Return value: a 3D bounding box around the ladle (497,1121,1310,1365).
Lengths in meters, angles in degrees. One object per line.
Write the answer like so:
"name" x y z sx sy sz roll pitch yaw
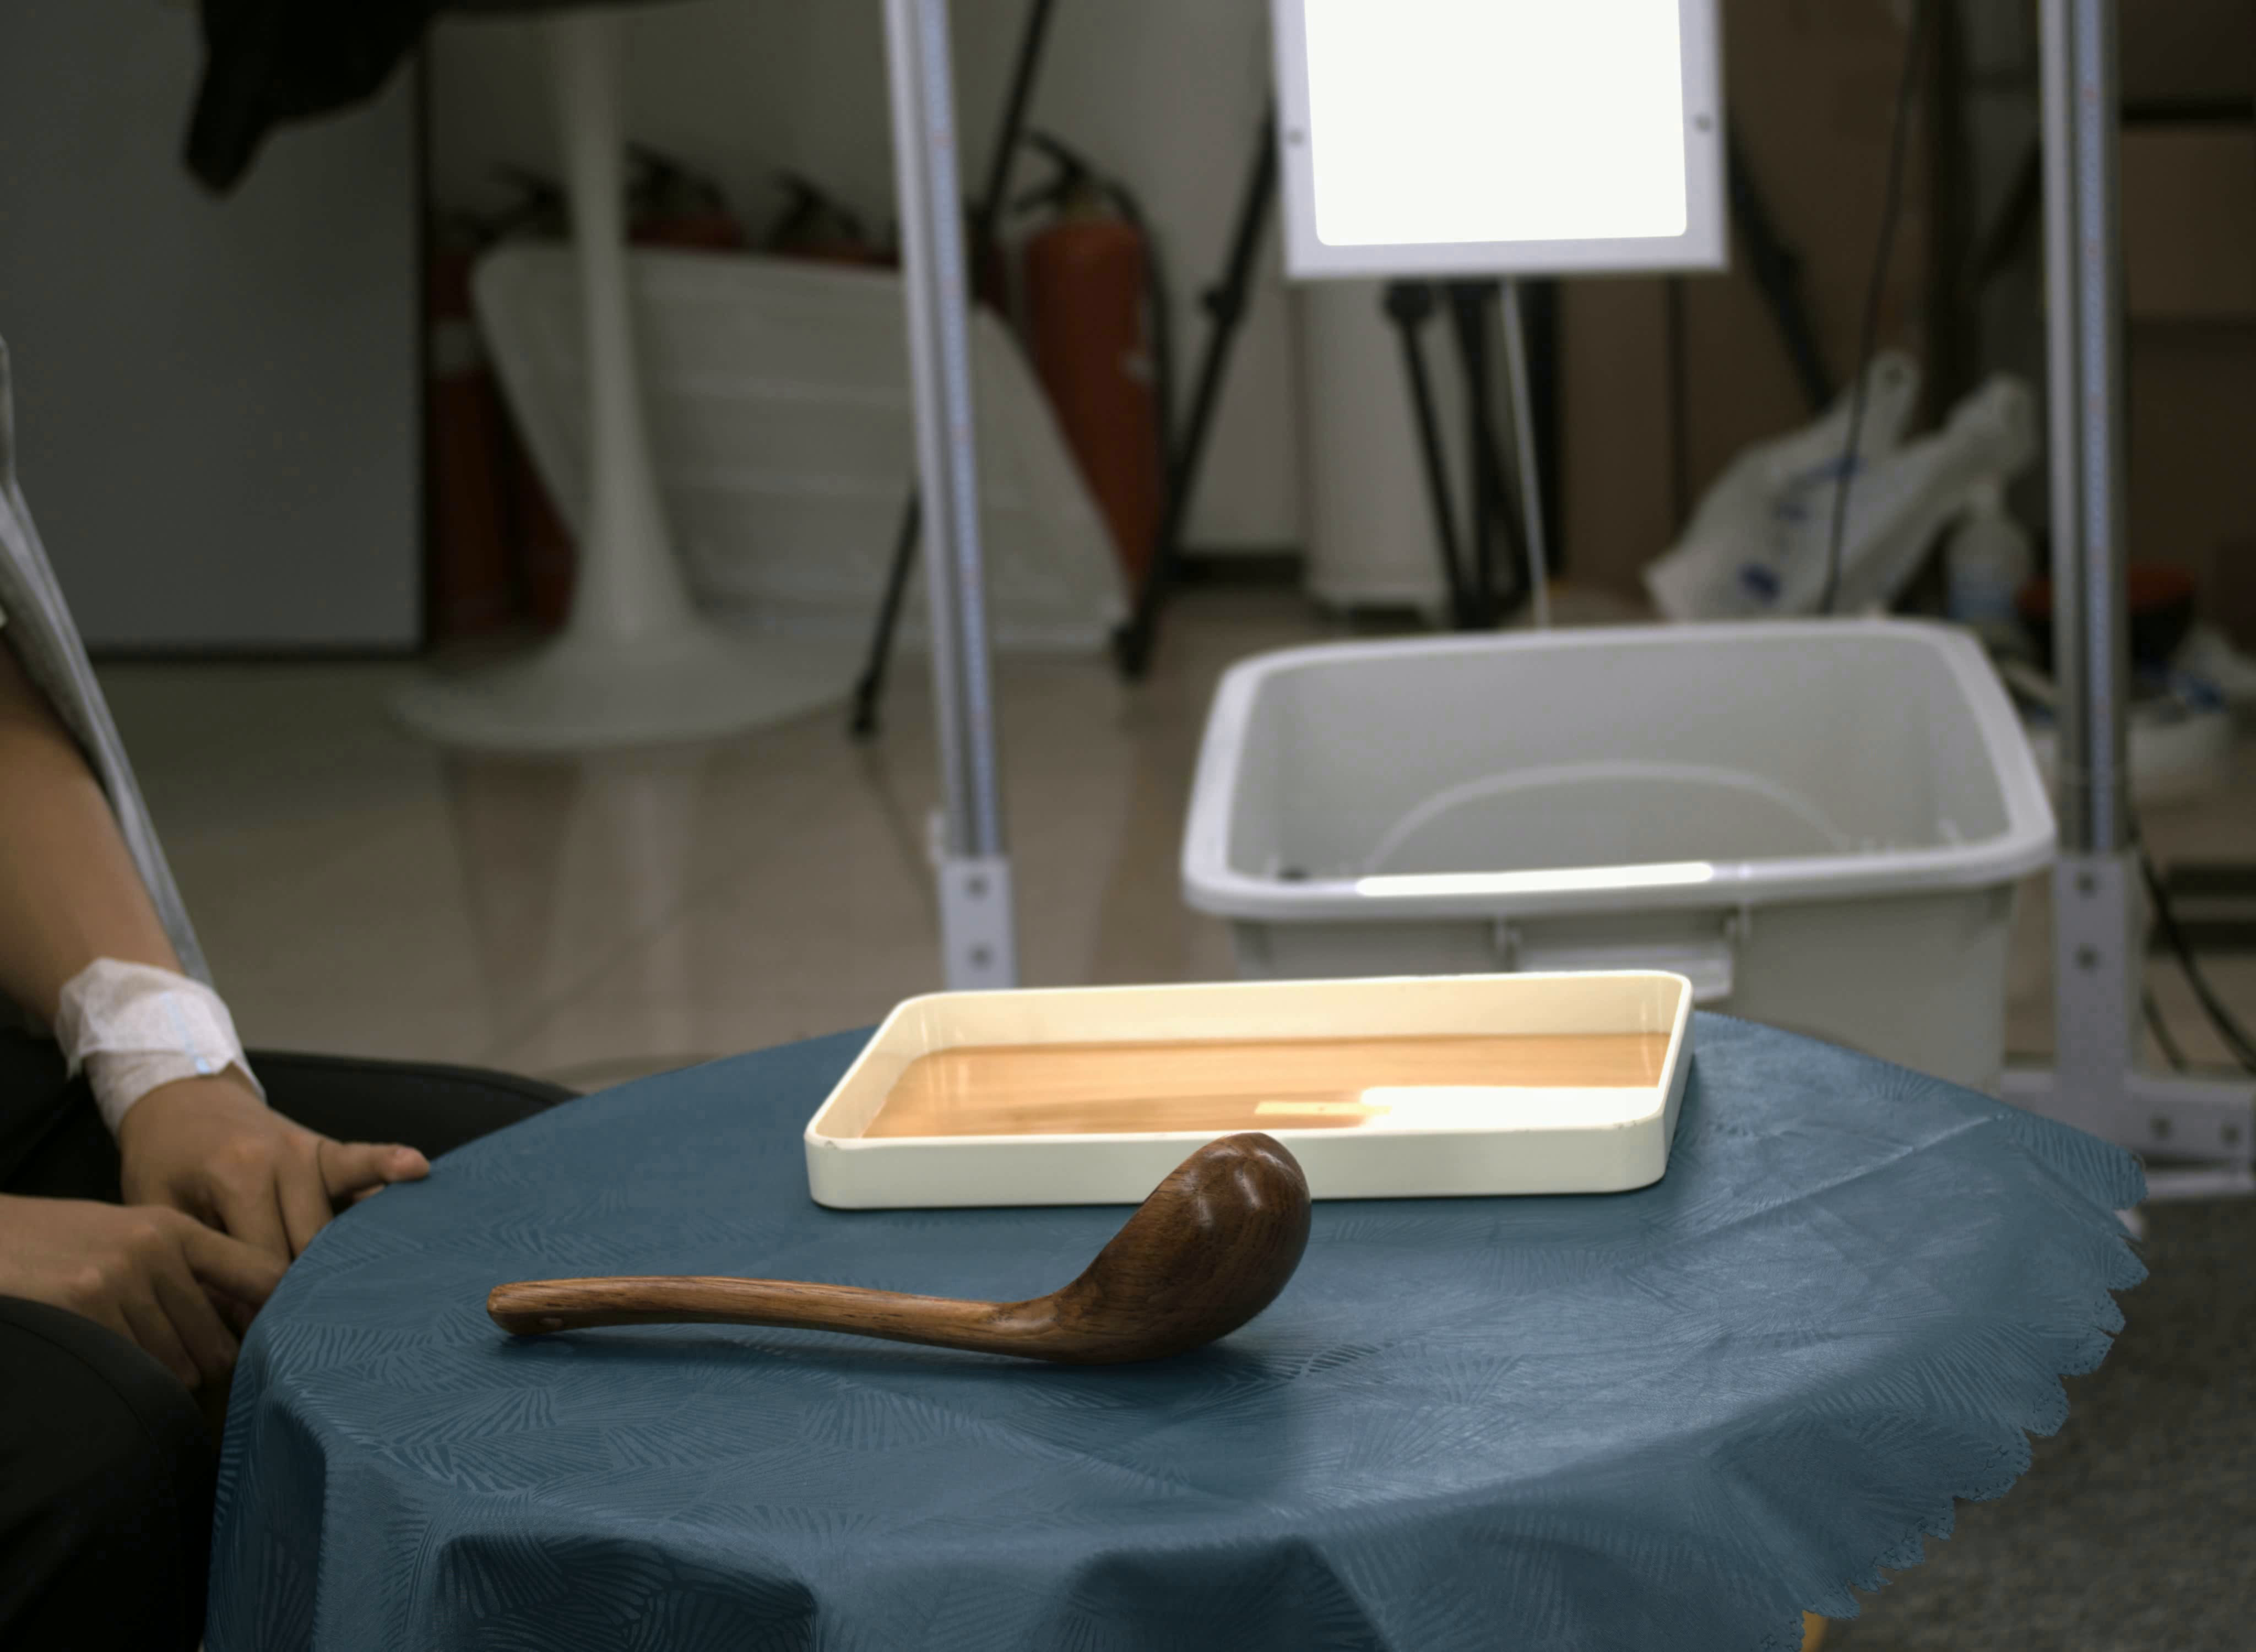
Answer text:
"ladle" -0.074 0.131 1.759 0.278 0.076 0.081 0 -27 25

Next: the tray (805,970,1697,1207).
"tray" 0.048 0.093 1.960 0.302 0.027 0.189 -2 14 13
